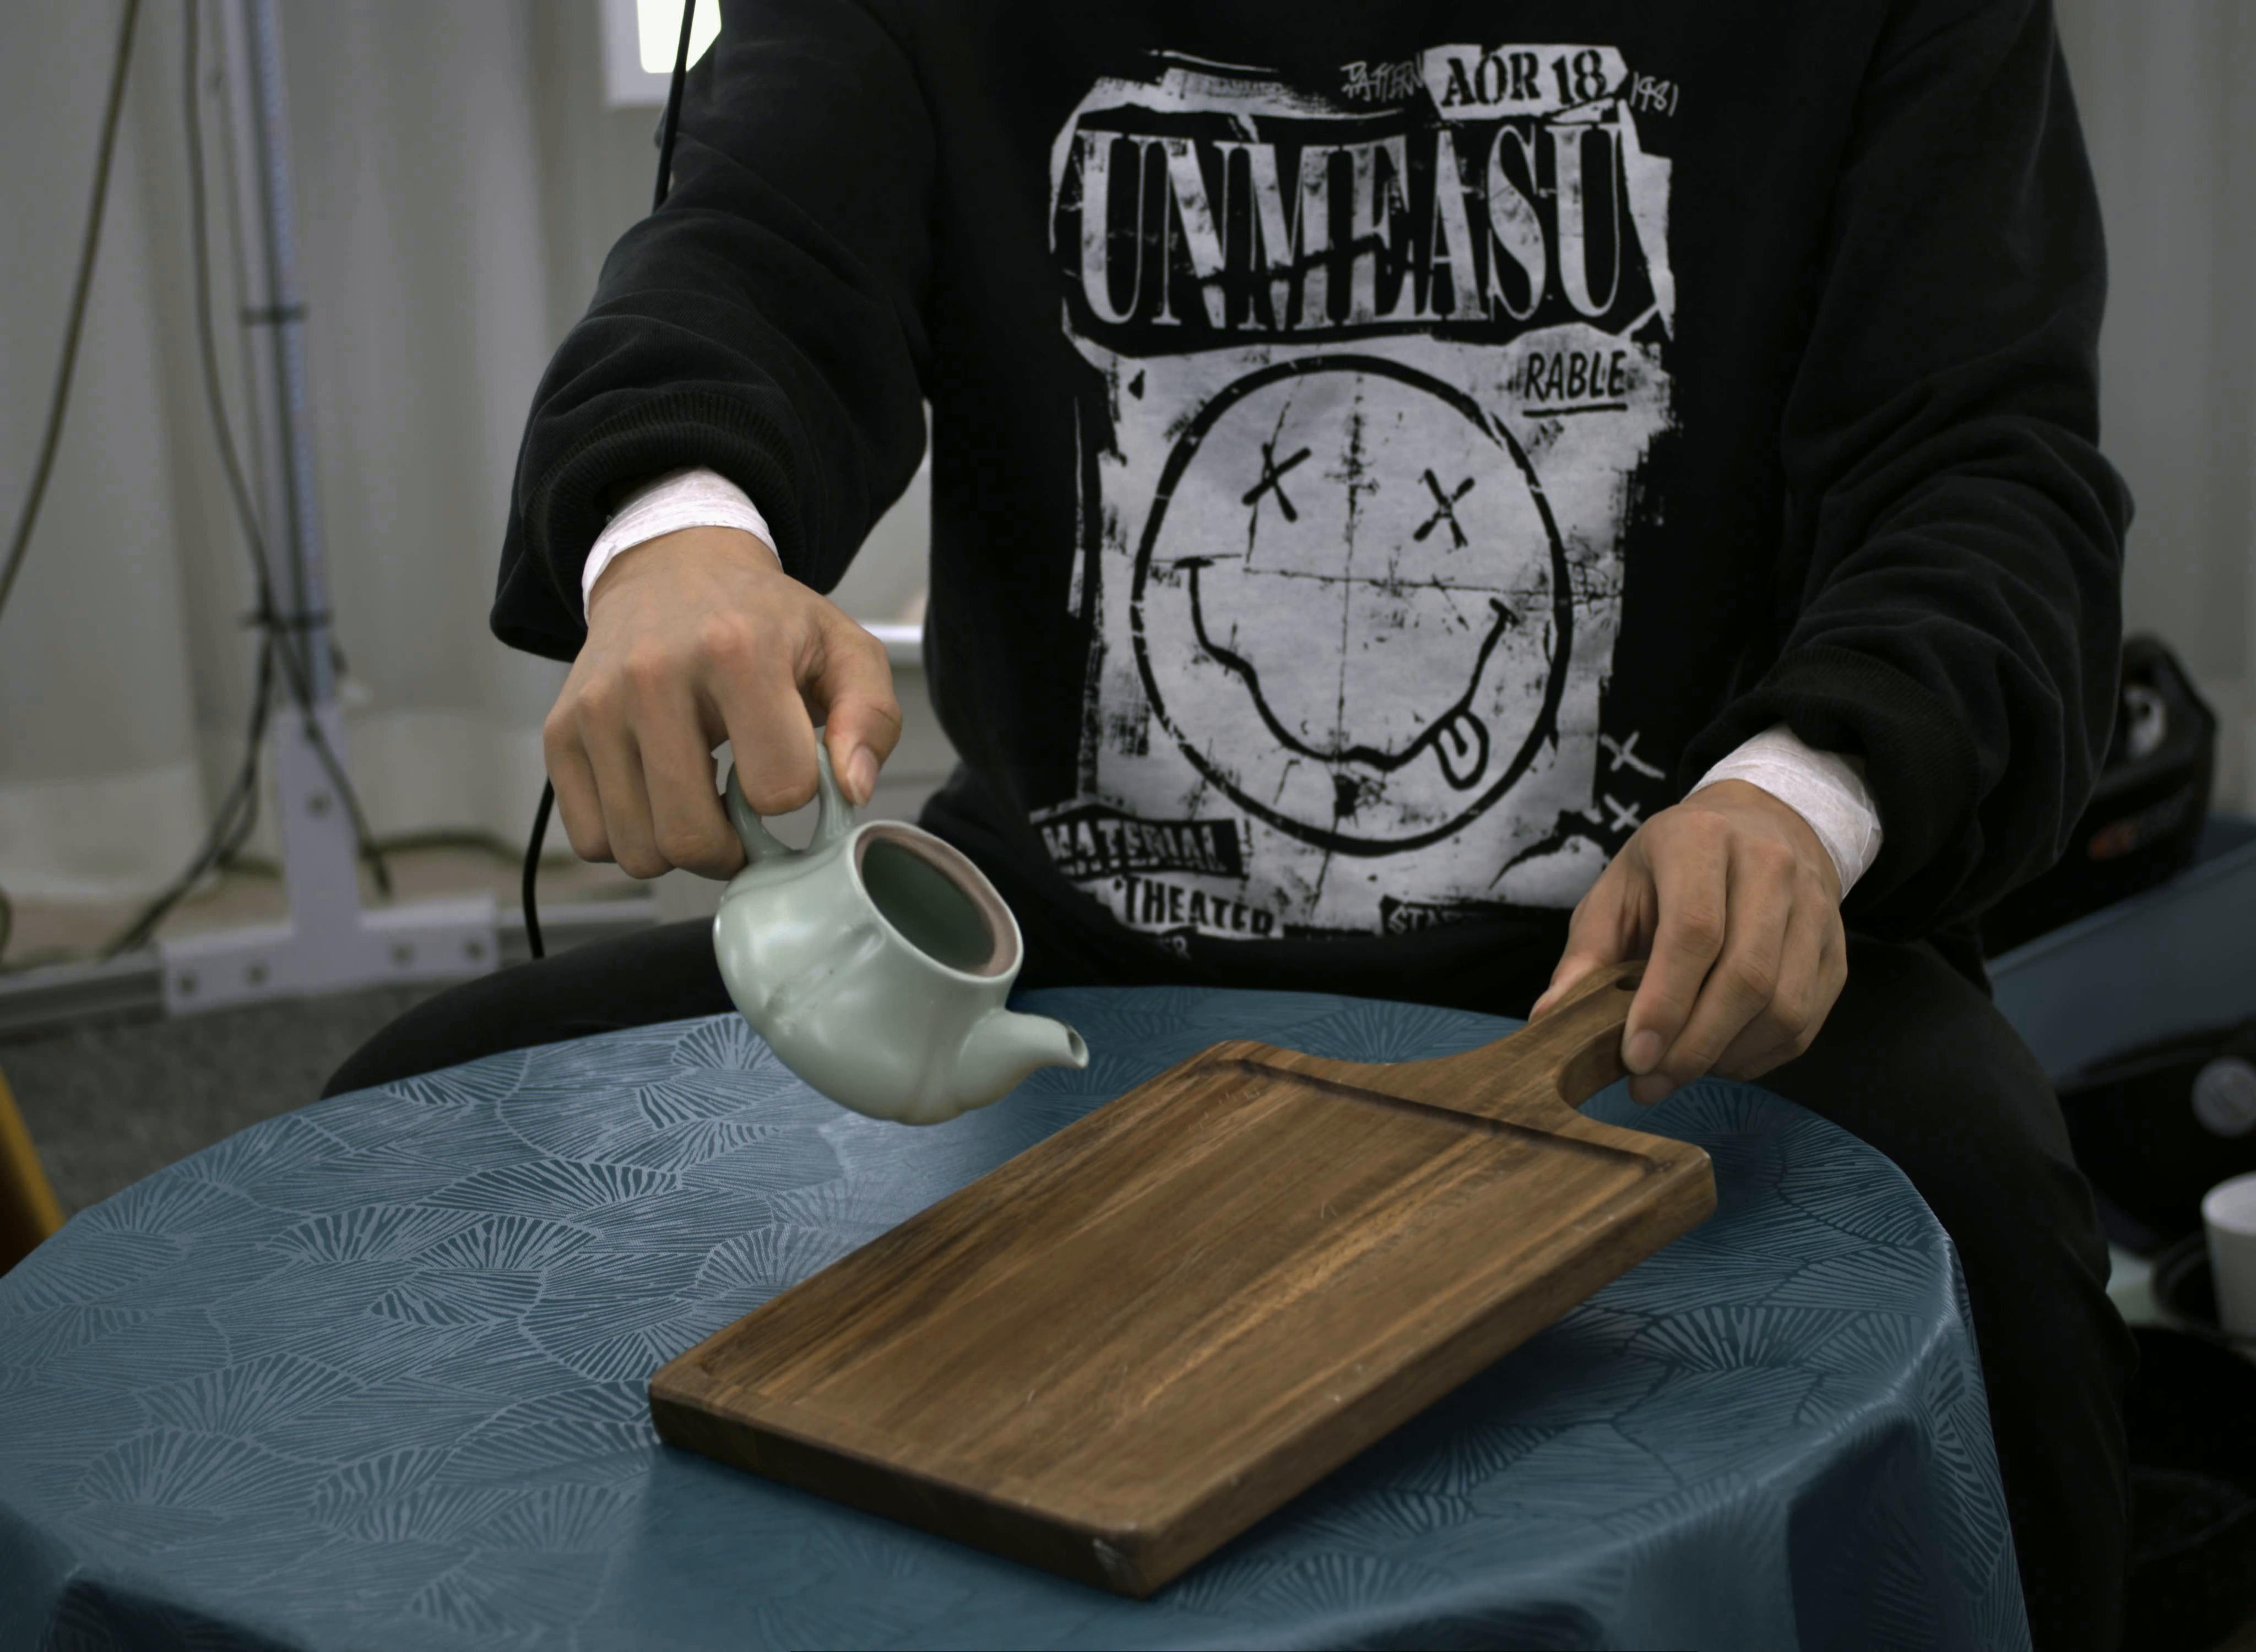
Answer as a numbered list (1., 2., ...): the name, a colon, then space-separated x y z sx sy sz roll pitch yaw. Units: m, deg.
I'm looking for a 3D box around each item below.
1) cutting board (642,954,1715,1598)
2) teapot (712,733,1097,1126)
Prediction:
1. cutting board: 0.048 0.113 1.569 0.202 0.023 0.353 11 29 42
2. teapot: -0.073 0.035 1.576 0.137 0.061 0.096 46 29 8
